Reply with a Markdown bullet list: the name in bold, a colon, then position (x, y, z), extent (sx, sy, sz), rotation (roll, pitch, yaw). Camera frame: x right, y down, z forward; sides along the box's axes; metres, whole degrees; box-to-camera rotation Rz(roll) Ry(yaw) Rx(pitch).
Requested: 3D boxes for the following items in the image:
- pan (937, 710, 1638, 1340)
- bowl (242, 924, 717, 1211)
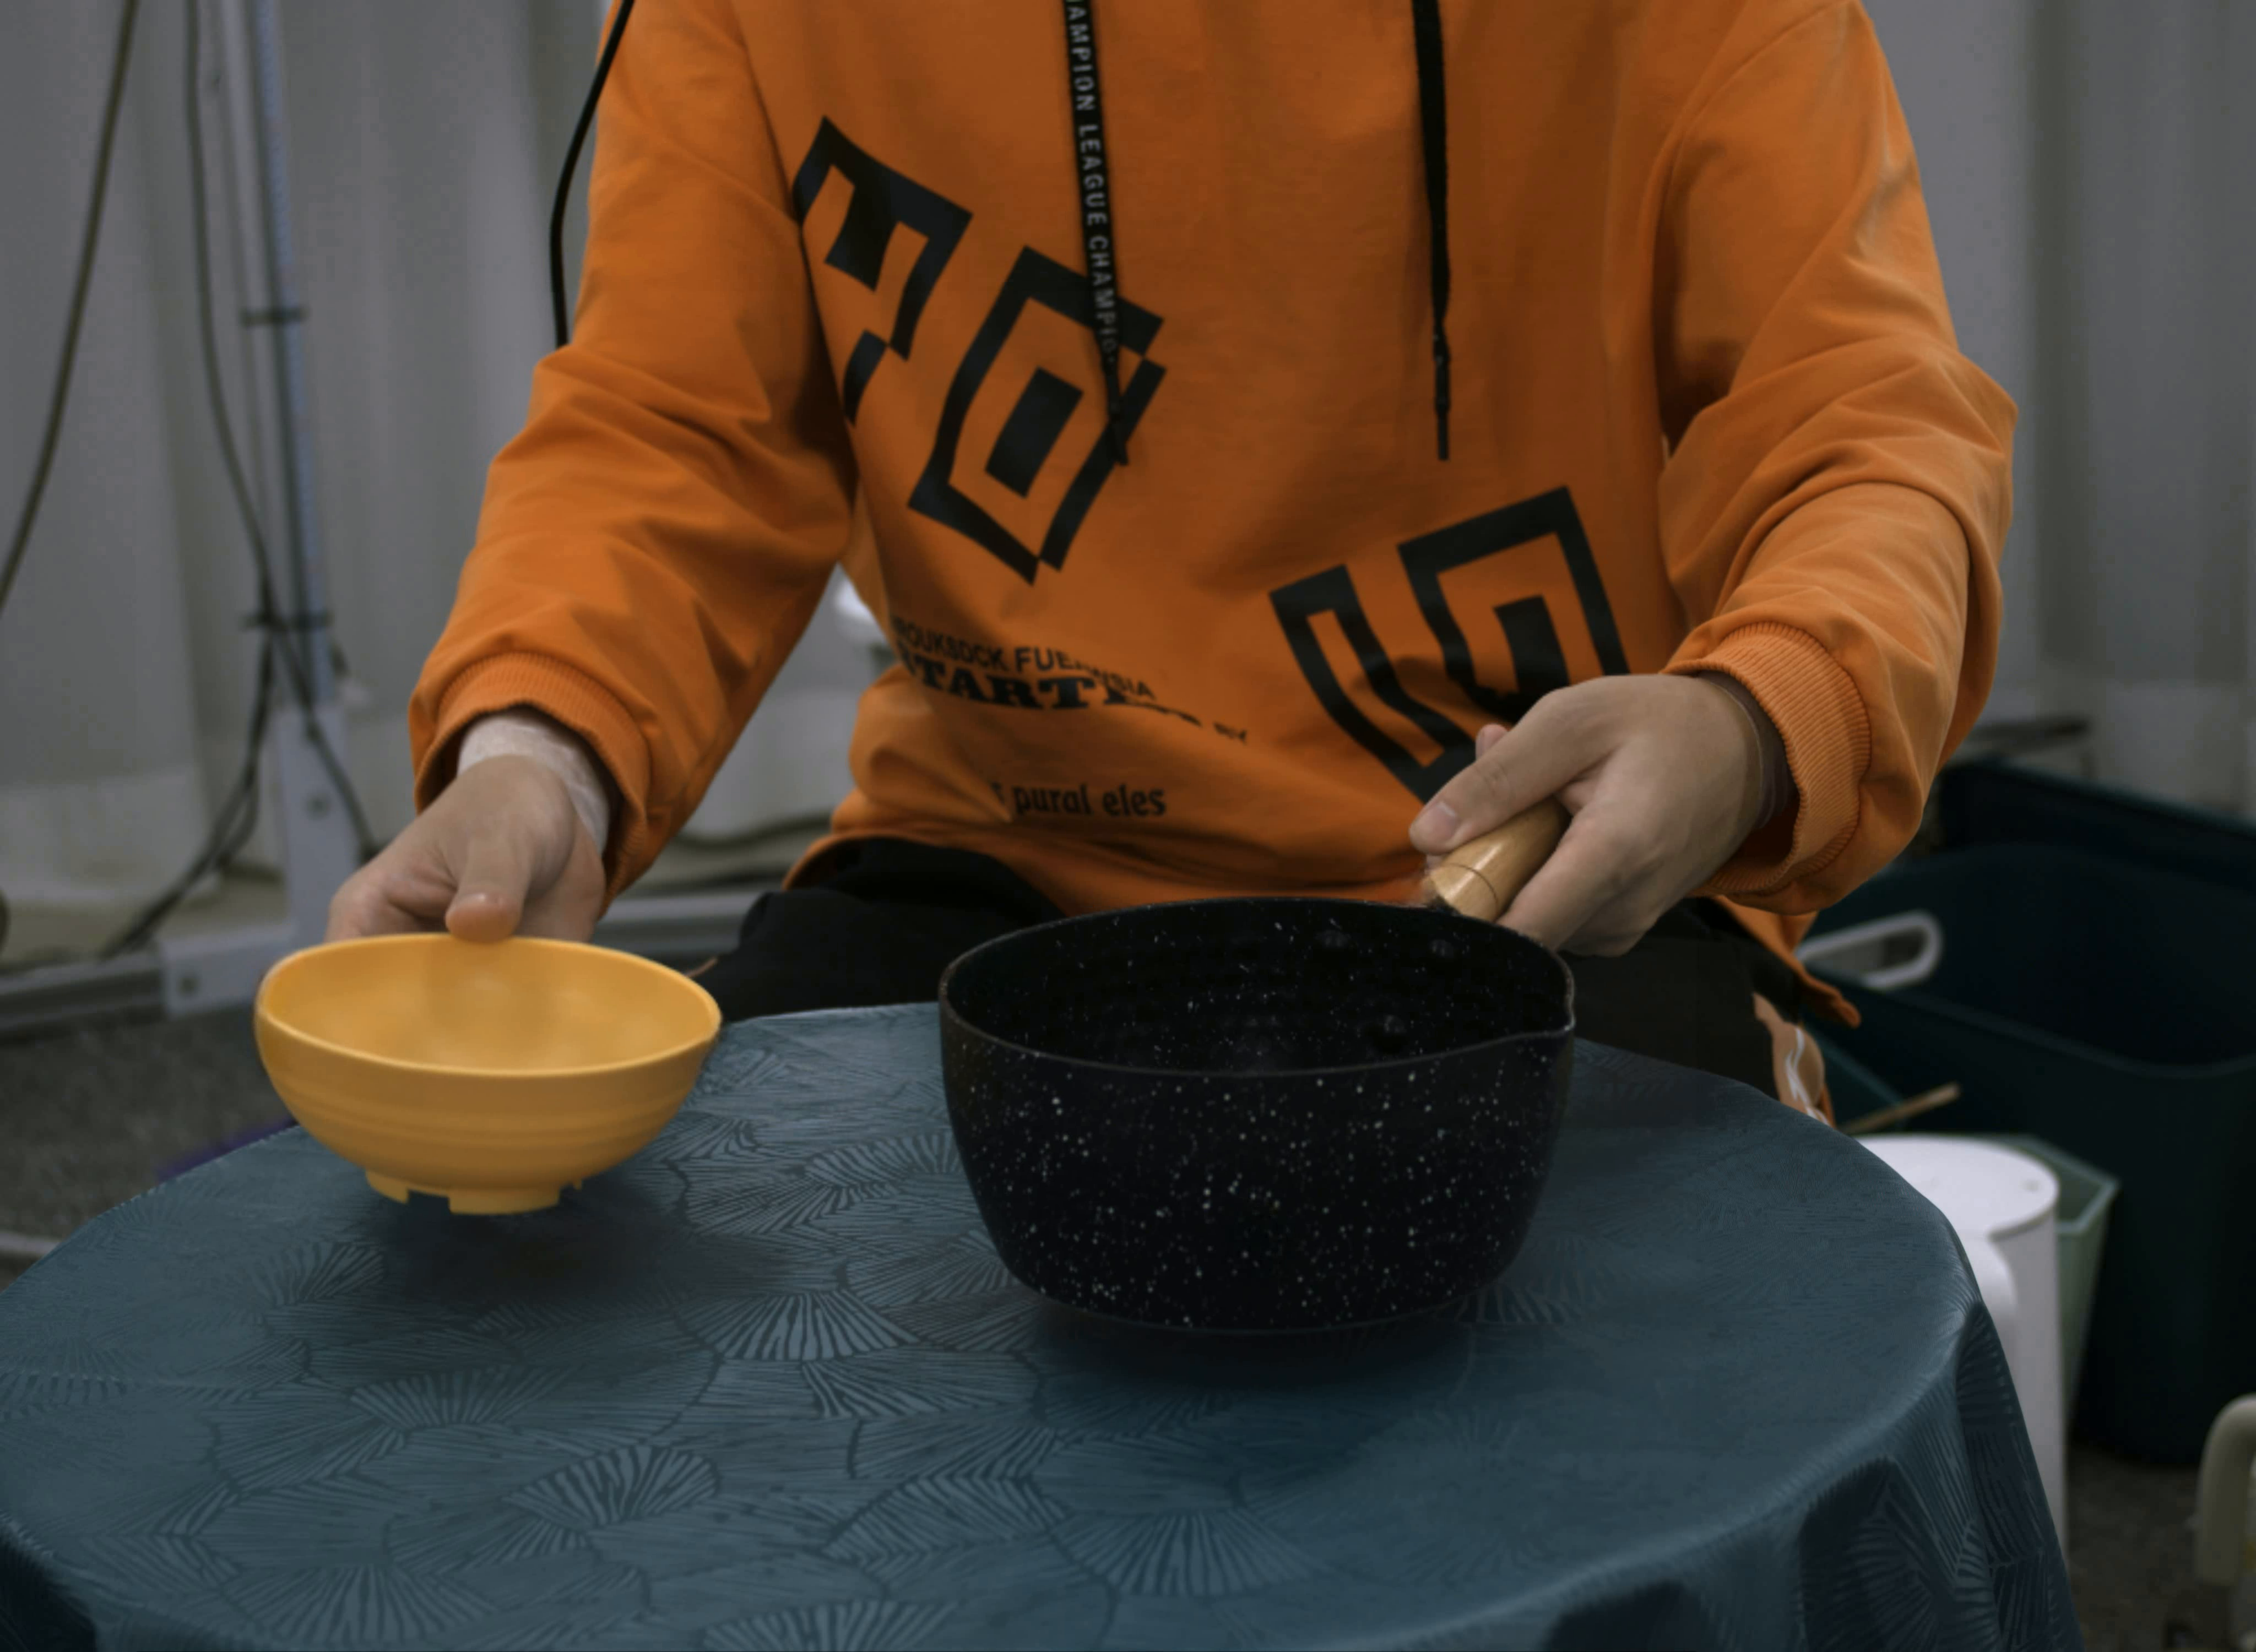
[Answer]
- **pan**: position (0.075, 0.055, 1.657), extent (0.208, 0.108, 0.343), rotation (5, 17, 27)
- **bowl**: position (-0.200, 0.079, 1.672), extent (0.145, 0.060, 0.146), rotation (6, 14, -2)
